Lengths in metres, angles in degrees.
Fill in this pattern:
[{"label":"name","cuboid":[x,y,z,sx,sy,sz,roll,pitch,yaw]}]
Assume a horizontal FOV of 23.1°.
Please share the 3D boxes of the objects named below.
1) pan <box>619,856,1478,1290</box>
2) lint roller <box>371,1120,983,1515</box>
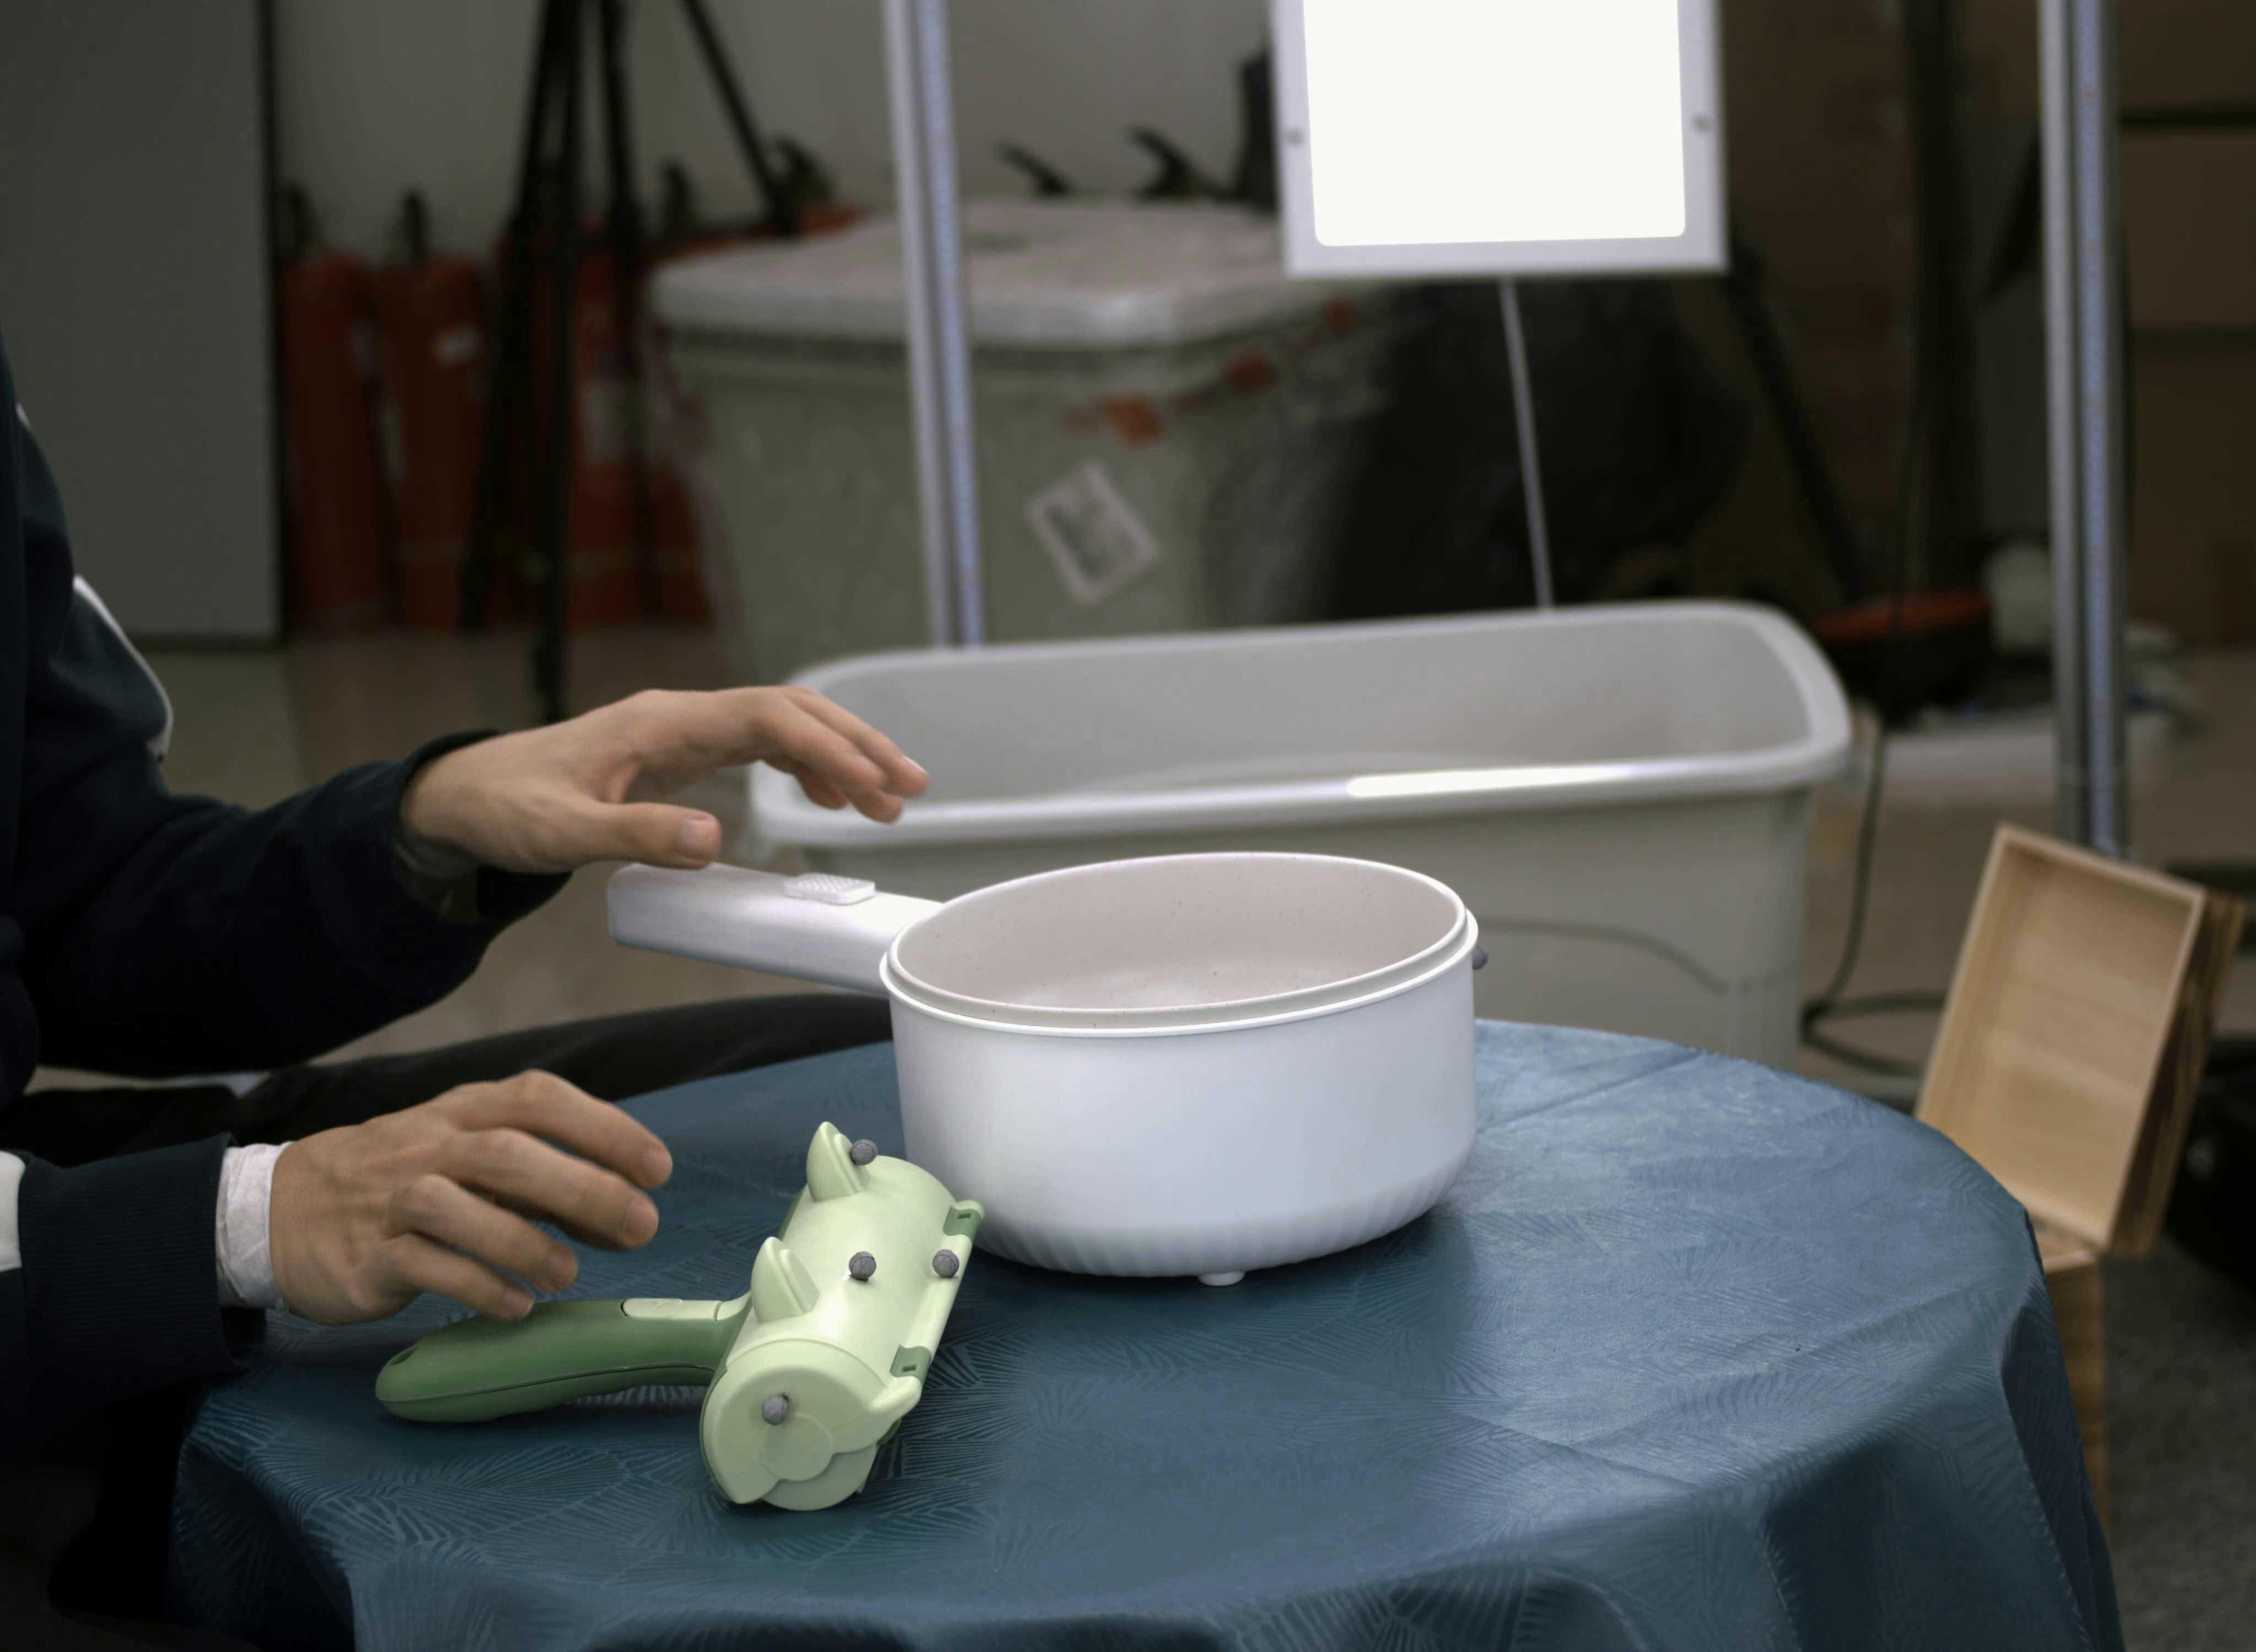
[{"label":"pan","cuboid":[-0.038,0.078,1.906,0.362,0.102,0.196,6,19,42]},{"label":"lint roller","cuboid":[-0.145,0.146,1.711,0.184,0.082,0.197,2,15,6]}]
